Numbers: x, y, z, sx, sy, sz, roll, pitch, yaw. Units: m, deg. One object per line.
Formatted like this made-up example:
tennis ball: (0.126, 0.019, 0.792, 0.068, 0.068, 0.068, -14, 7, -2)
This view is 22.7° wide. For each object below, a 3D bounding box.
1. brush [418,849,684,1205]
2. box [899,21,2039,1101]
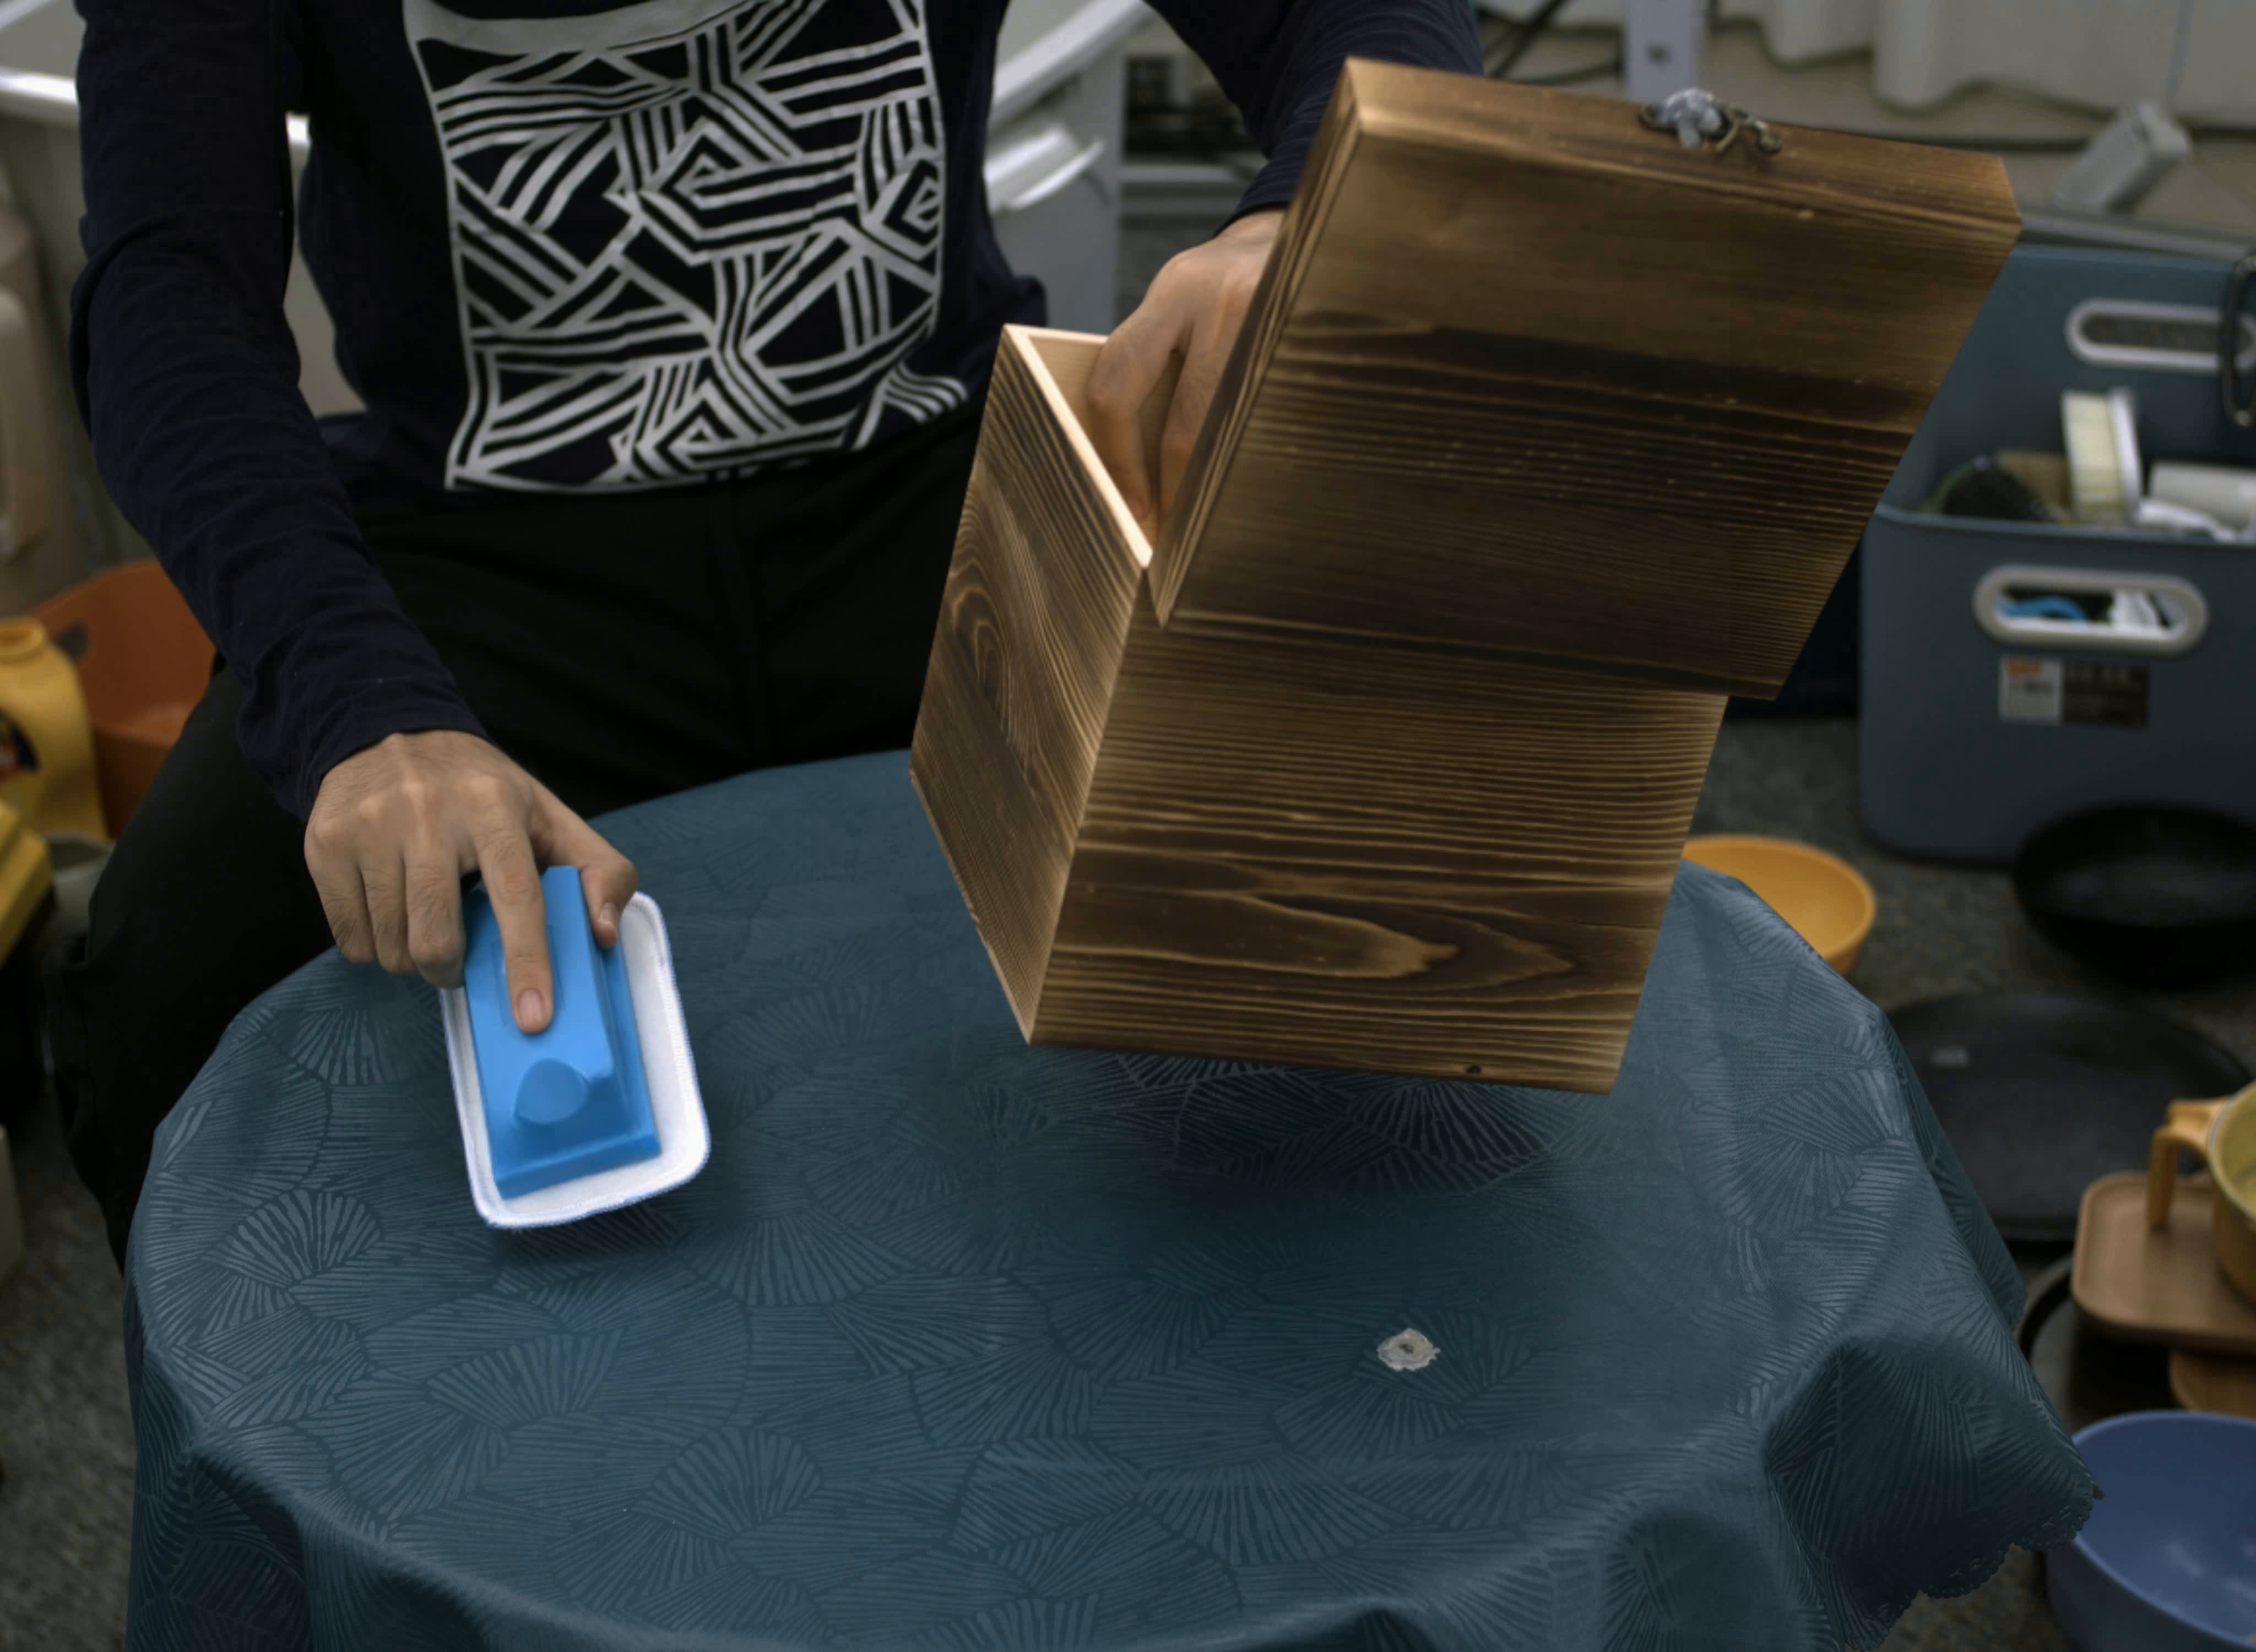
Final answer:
brush: (-0.194, 0.060, 1.866, 0.083, 0.055, 0.146, -11, 44, -3)
box: (0.093, -0.105, 1.780, 0.208, 0.372, 0.325, 7, 23, -18)
